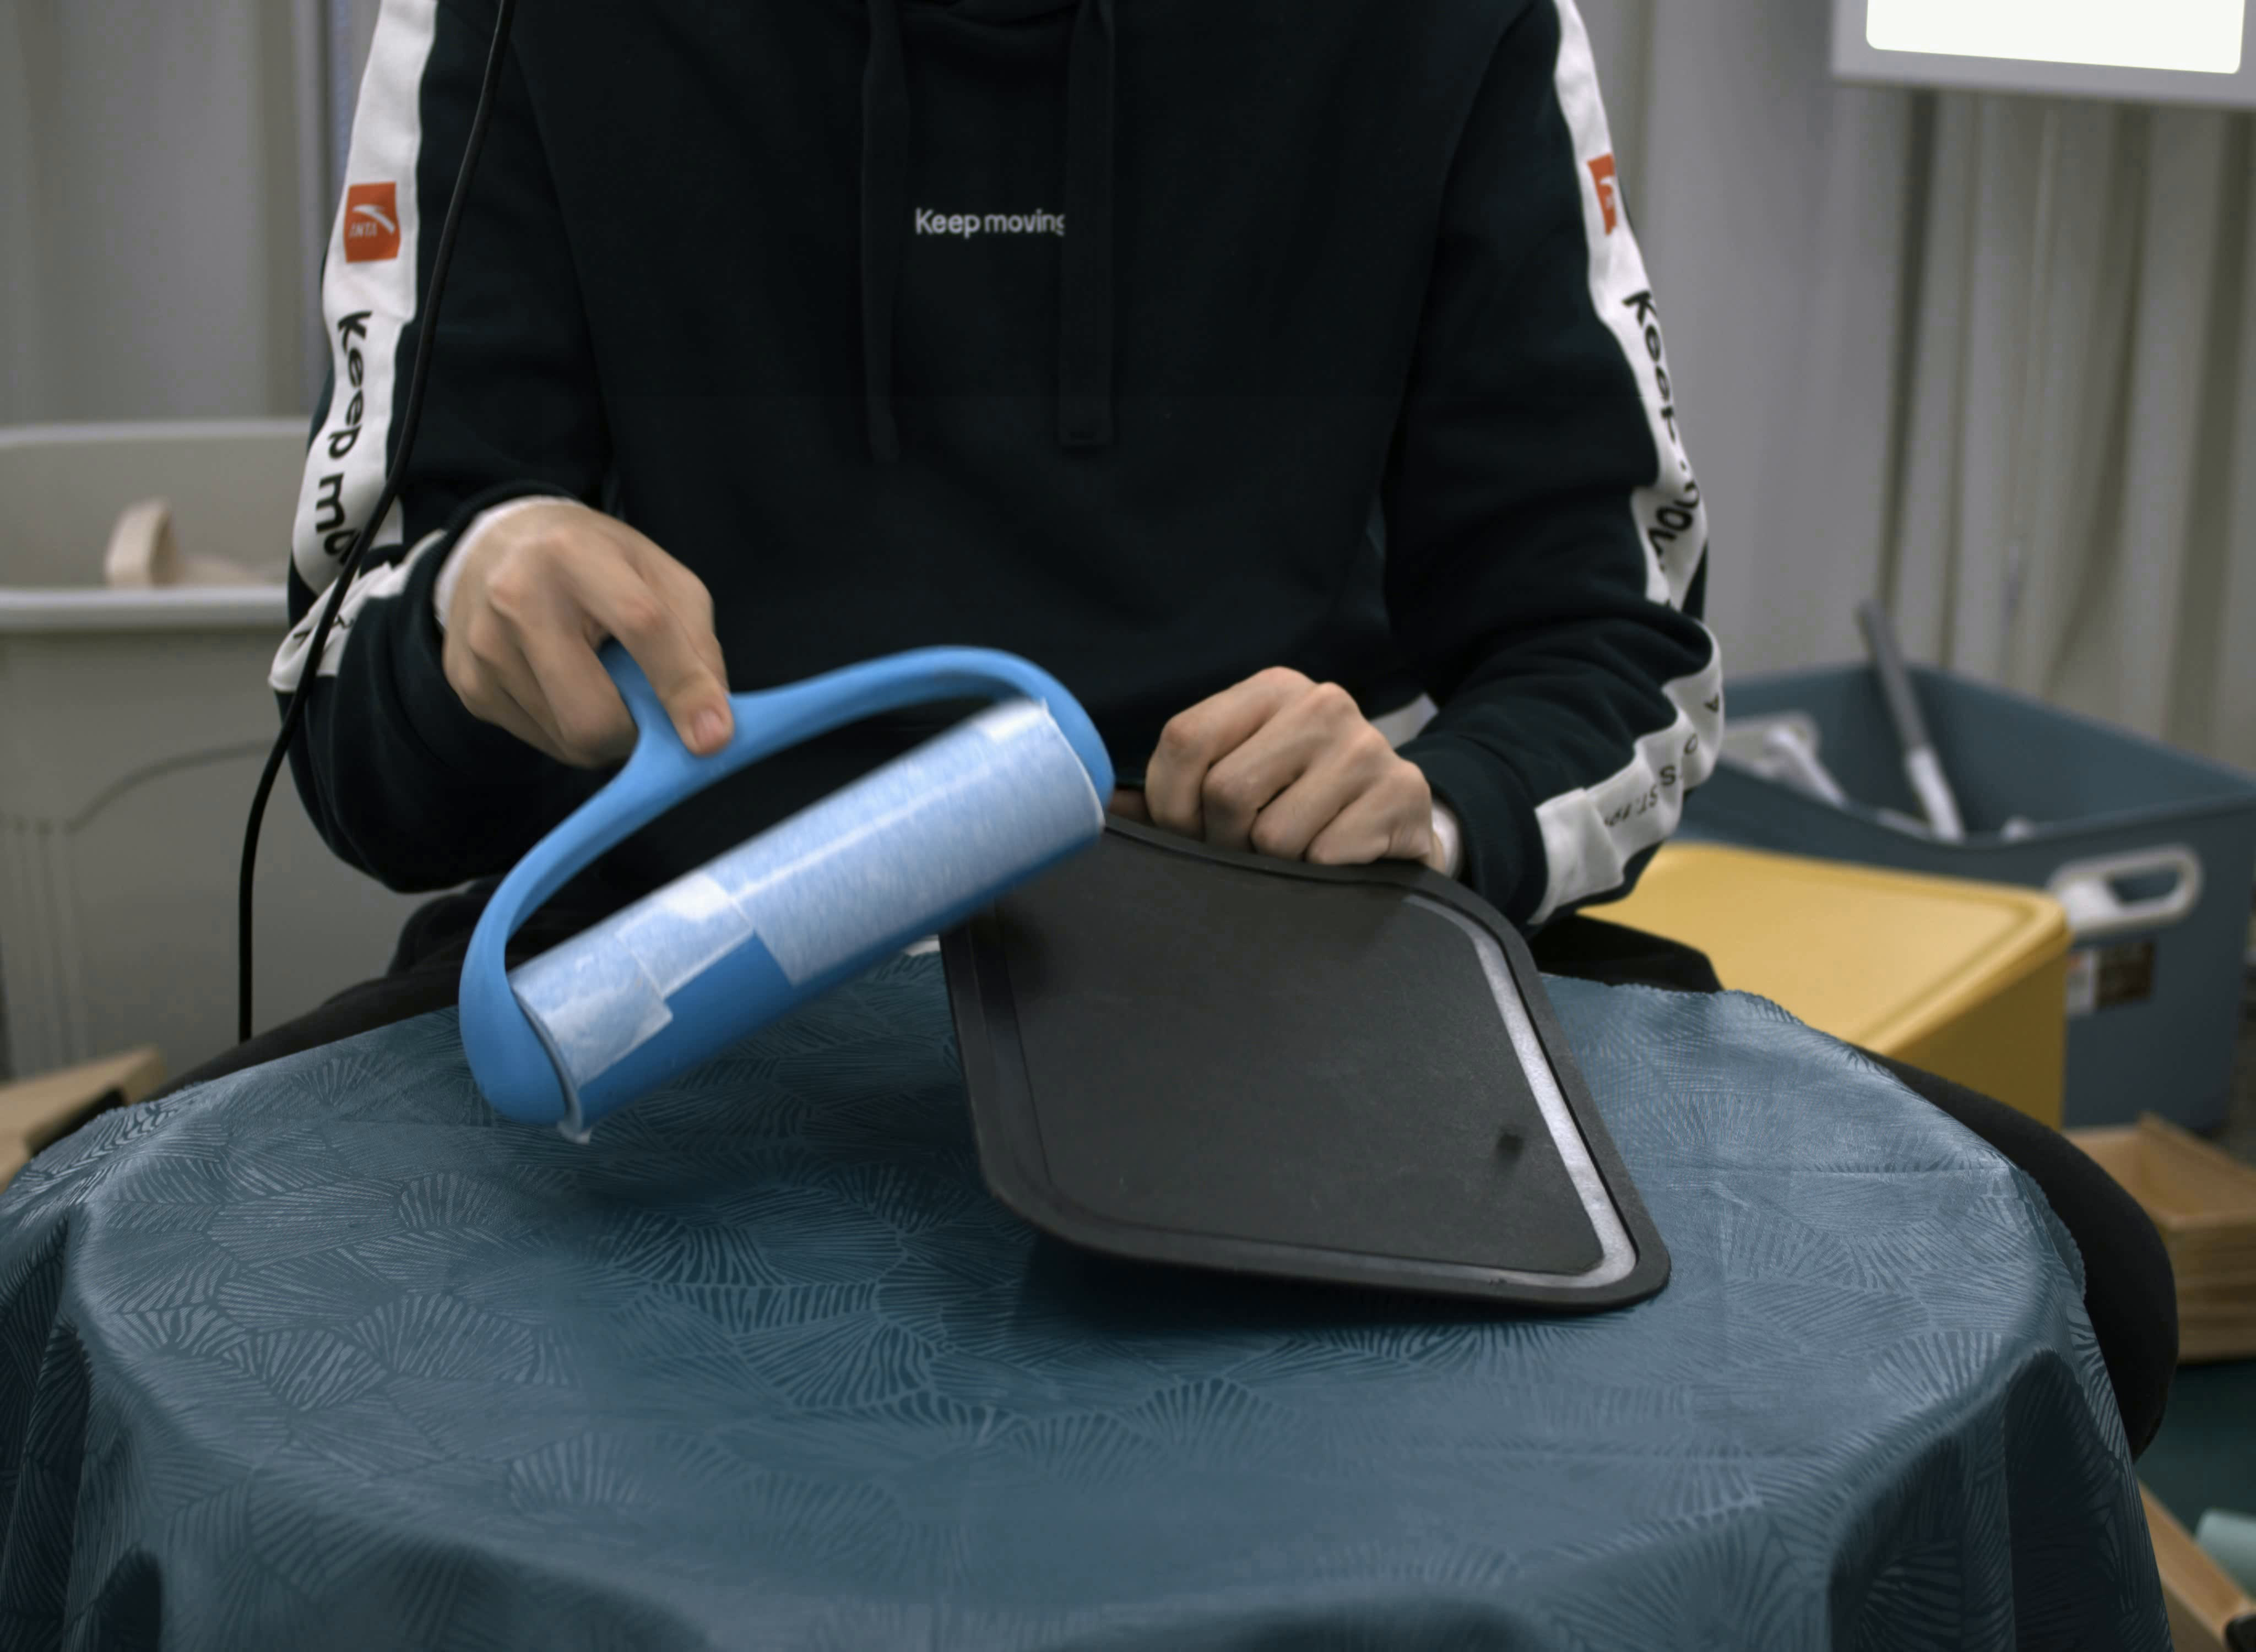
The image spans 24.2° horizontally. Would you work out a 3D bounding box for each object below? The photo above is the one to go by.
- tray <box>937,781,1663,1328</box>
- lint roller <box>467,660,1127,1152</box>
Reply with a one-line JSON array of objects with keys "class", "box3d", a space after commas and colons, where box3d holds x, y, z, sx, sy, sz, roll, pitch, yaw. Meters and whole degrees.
[{"class": "tray", "box3d": [0.045, 0.060, 1.643, 0.211, 0.010, 0.322, 9, 25, -11]}, {"class": "lint roller", "box3d": [-0.134, -0.006, 1.643, 0.229, 0.068, 0.178, -32, 58, -22]}]
